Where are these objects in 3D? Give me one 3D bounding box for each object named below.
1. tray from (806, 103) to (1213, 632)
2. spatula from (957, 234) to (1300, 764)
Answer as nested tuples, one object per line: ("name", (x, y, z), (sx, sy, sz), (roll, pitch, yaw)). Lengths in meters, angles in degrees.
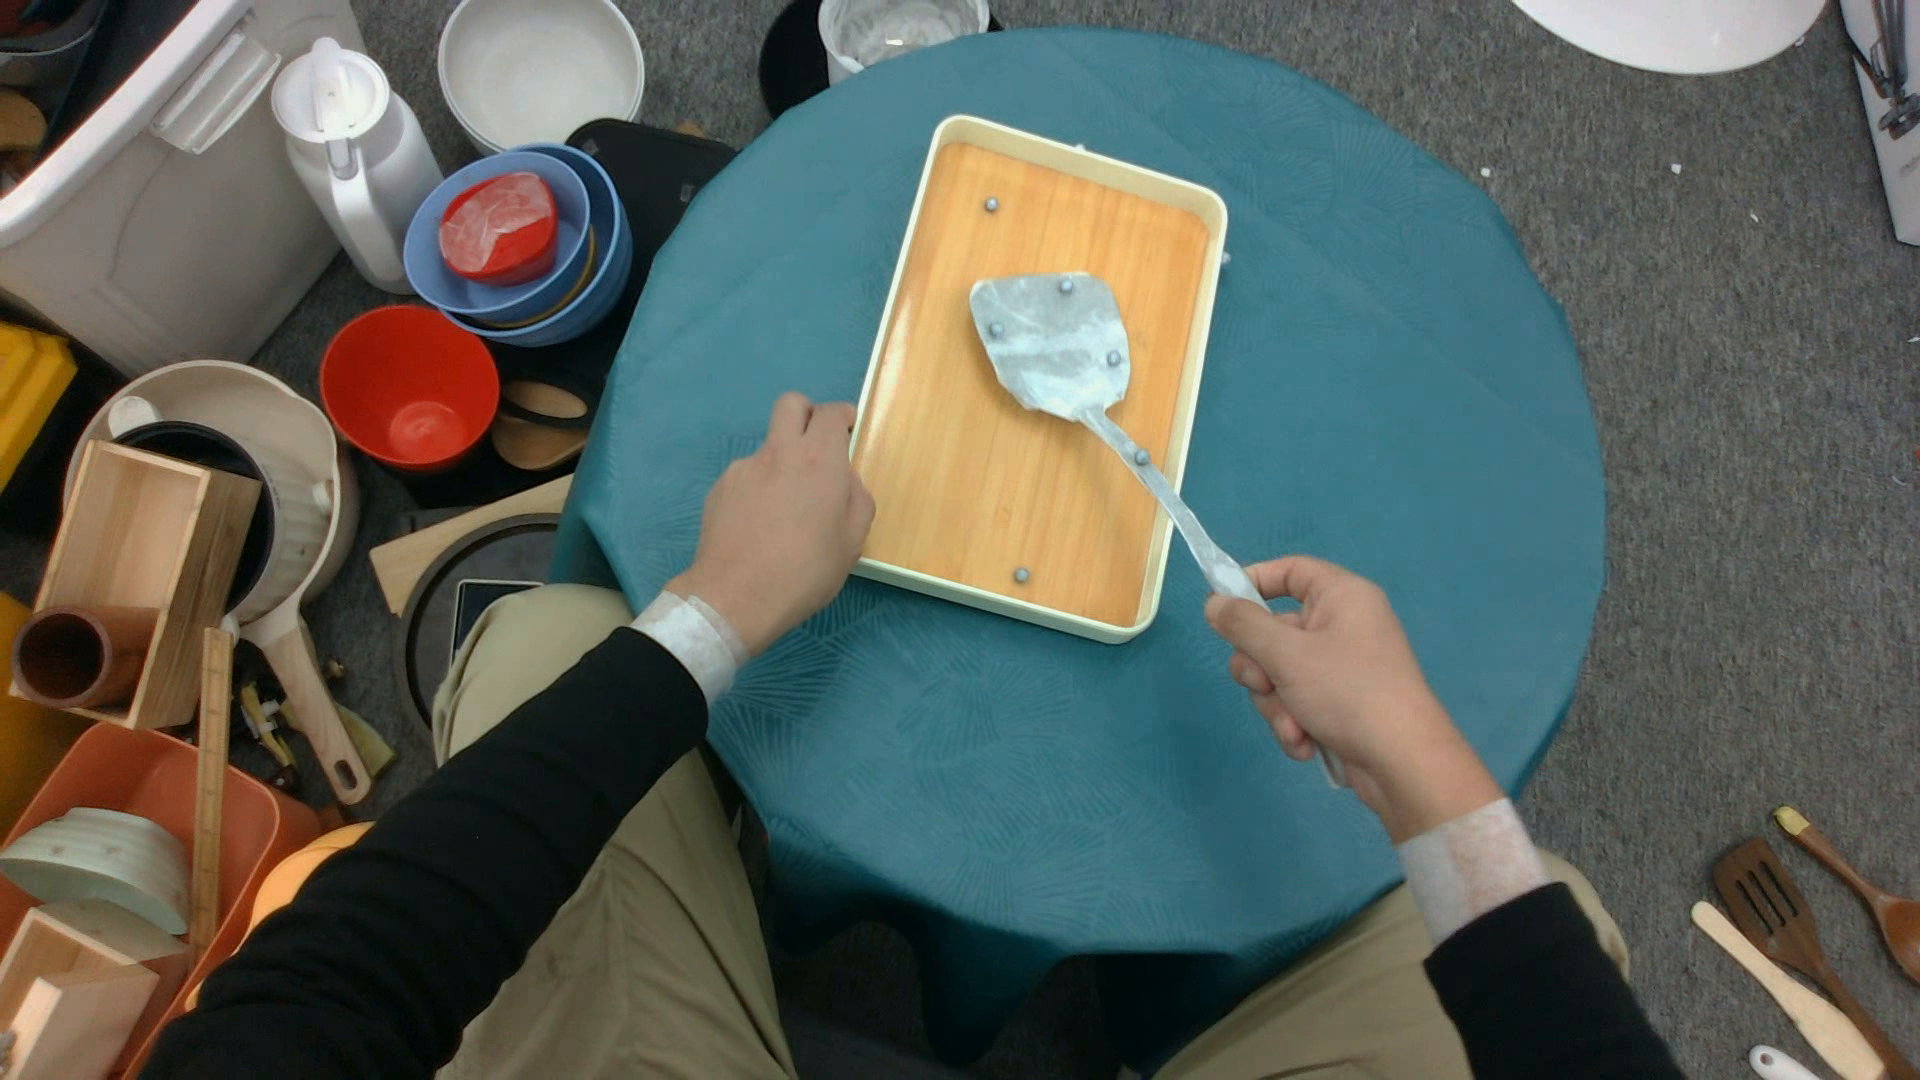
("tray", (0.036, -0.108, 0.810), (0.191, 0.027, 0.301), (16, 69, -6))
("spatula", (0.097, -0.041, 0.735), (0.099, 0.044, 0.366), (-5, 47, -27))
